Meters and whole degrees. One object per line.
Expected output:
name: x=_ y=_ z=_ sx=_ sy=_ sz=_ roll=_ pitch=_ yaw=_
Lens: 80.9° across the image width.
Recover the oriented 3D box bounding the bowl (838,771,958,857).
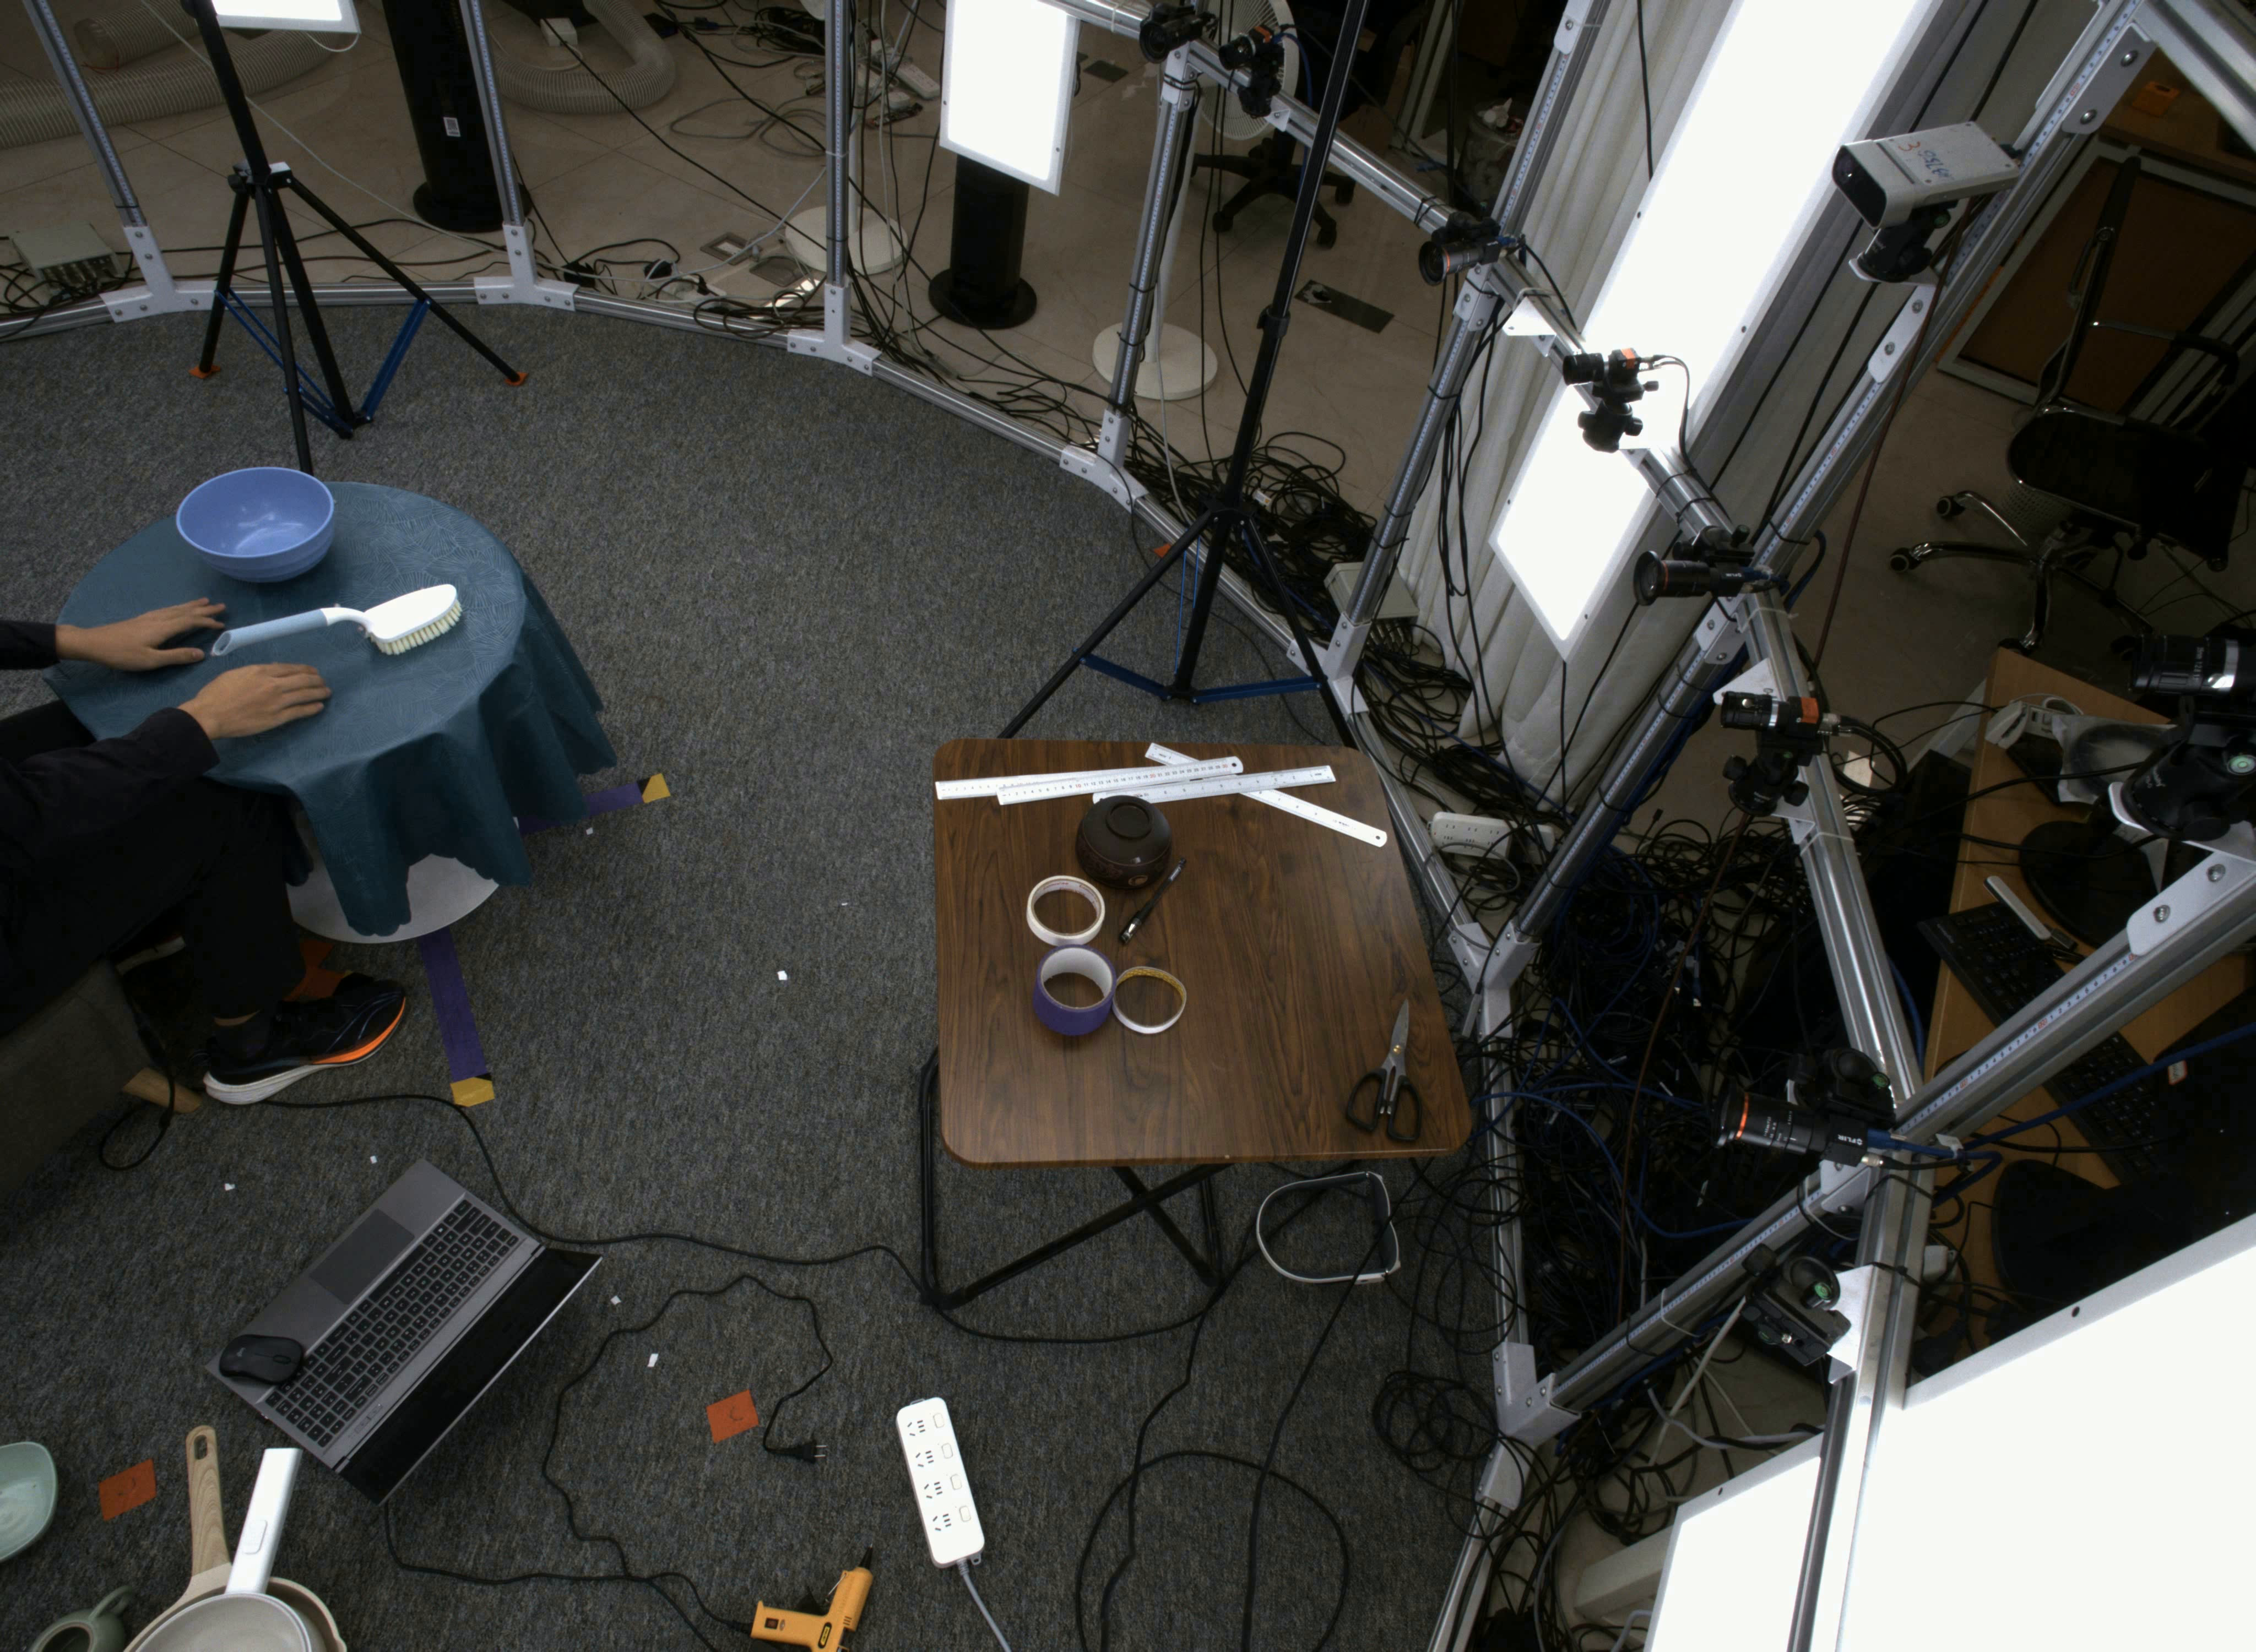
bowl: x=-0.382 y=-0.011 z=2.156 sx=0.195 sy=0.098 sz=0.193 roll=7 pitch=24 yaw=-1

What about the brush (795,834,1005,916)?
brush: x=-0.343 y=0.084 z=1.955 sx=0.329 sy=0.084 sz=0.082 roll=12 pitch=-16 yaw=-21
